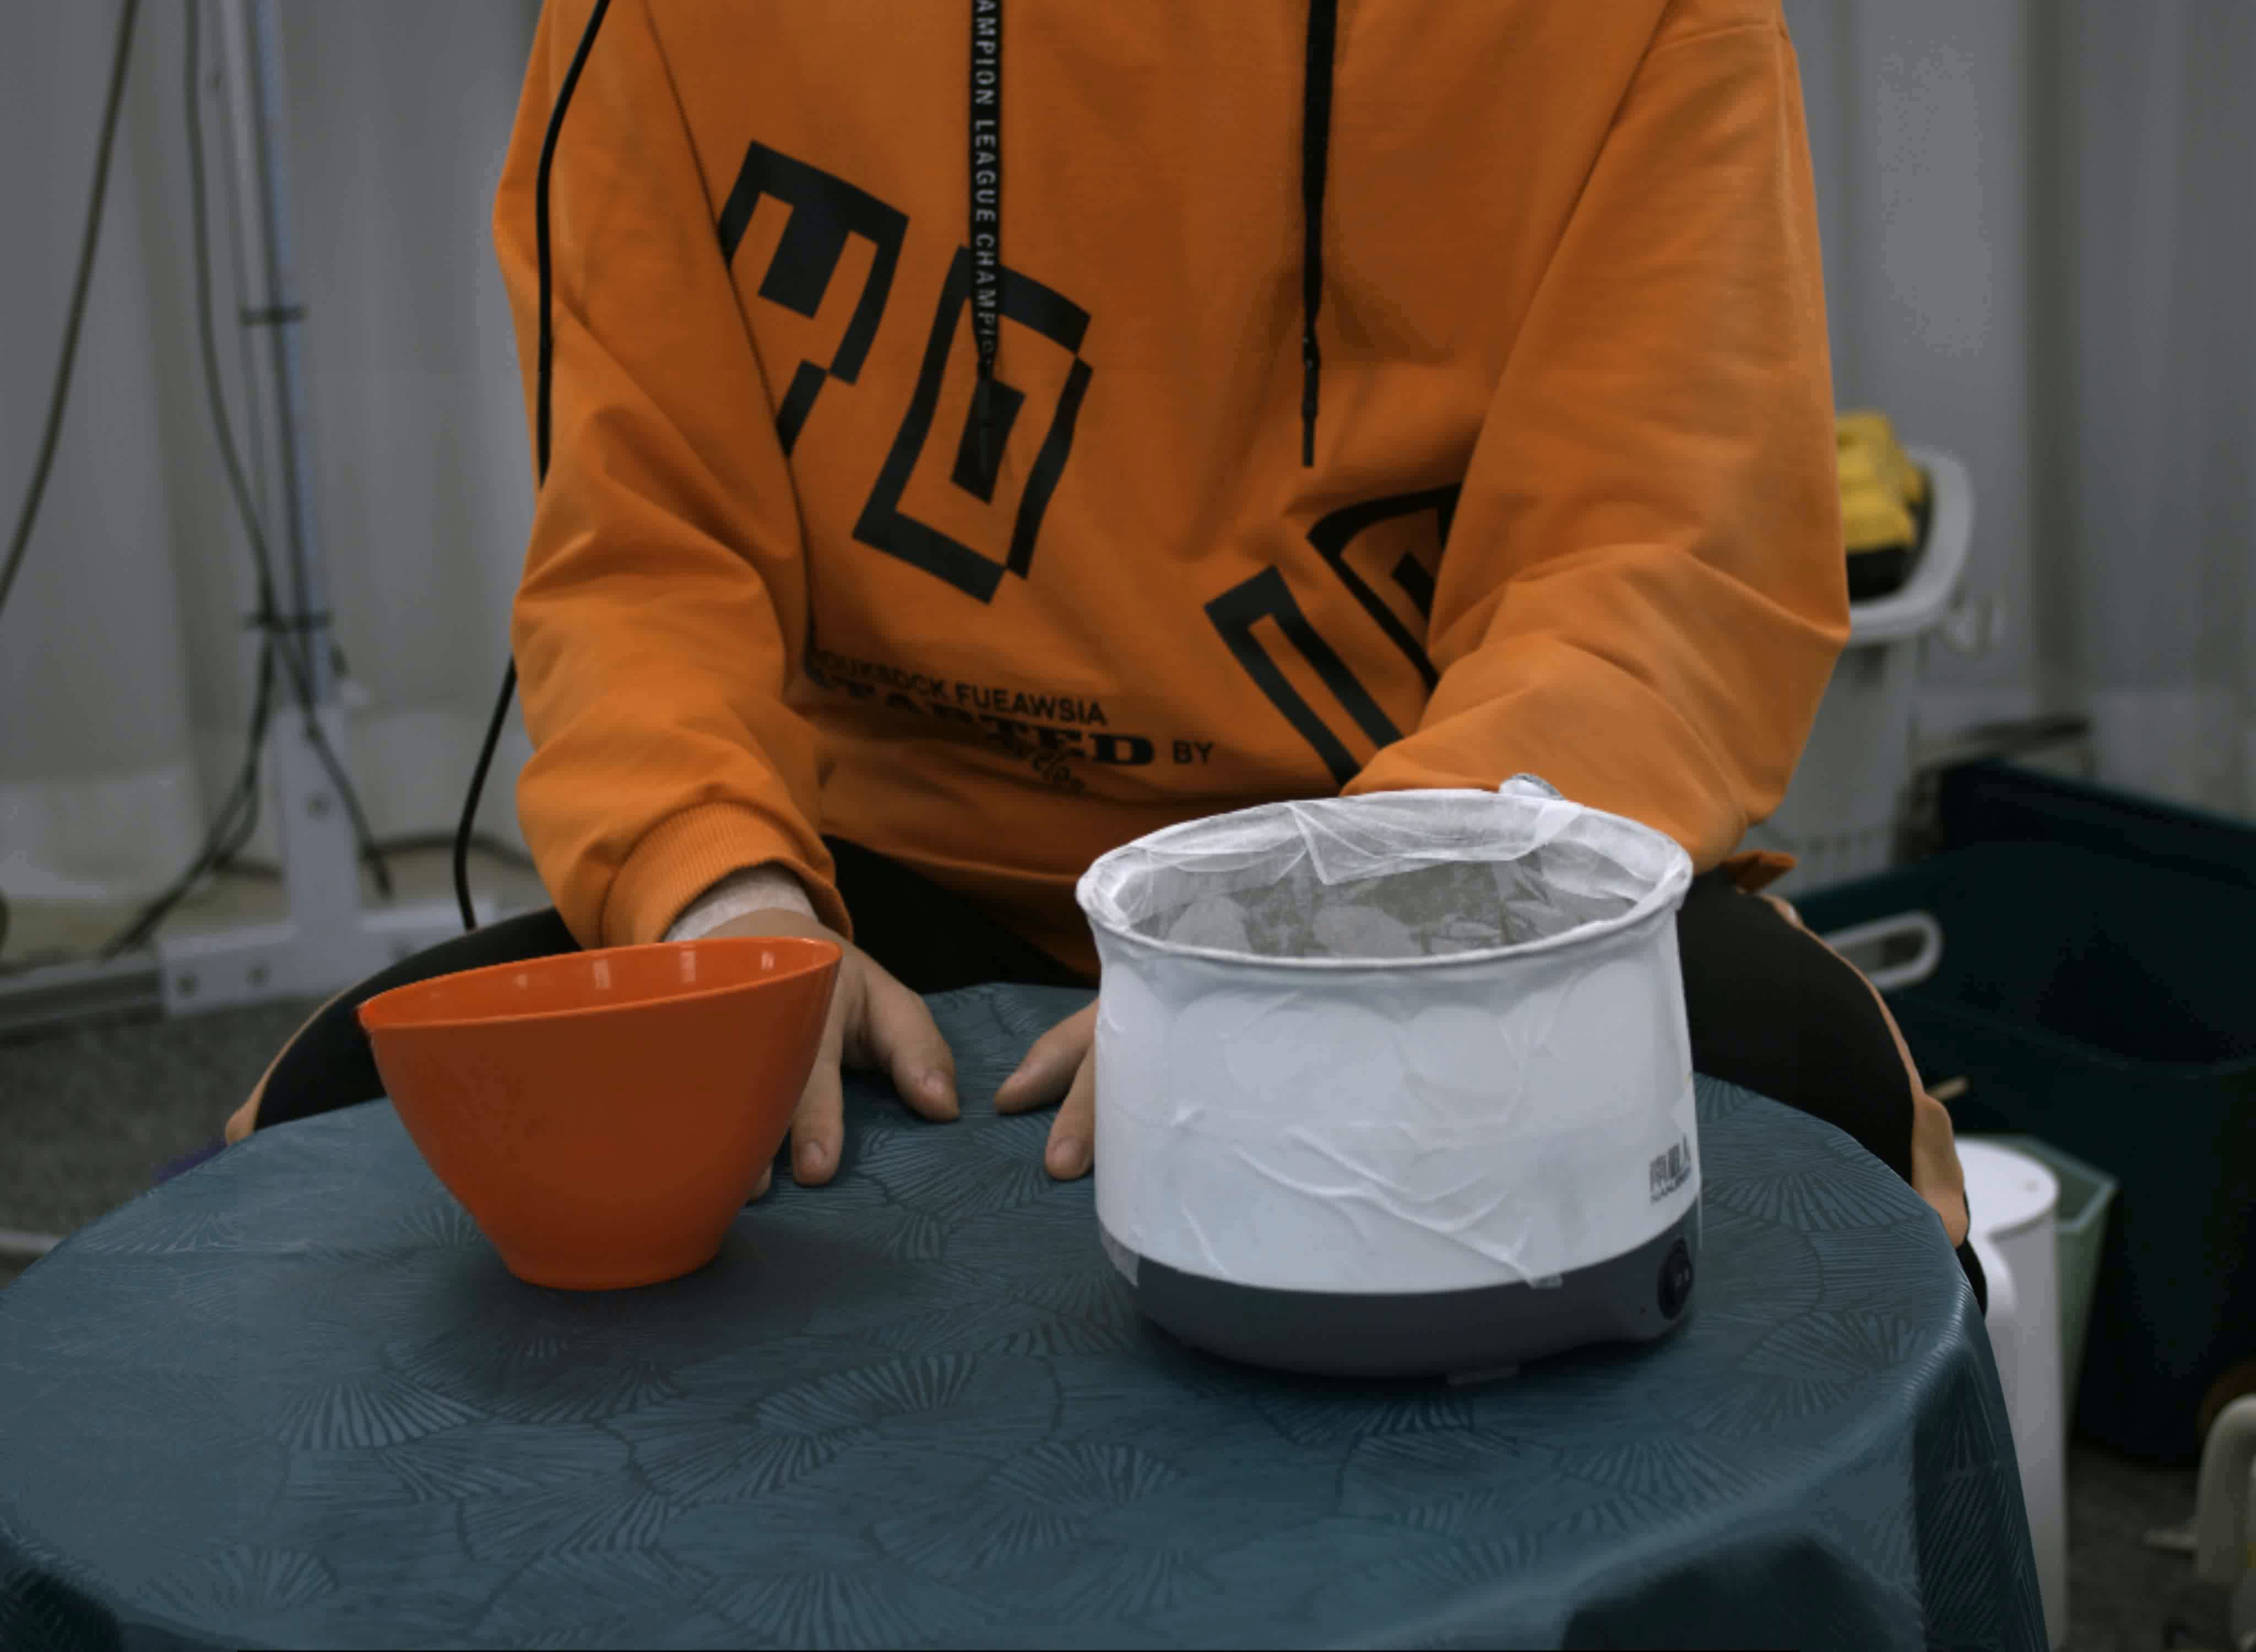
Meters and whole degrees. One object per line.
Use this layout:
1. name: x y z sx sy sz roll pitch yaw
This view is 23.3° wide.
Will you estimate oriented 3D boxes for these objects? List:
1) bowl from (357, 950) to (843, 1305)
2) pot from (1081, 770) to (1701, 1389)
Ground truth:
1. bowl: -0.157 0.089 1.660 0.147 0.104 0.149 -3 13 0
2. pot: 0.089 0.068 1.609 0.179 0.136 0.234 5 17 26
